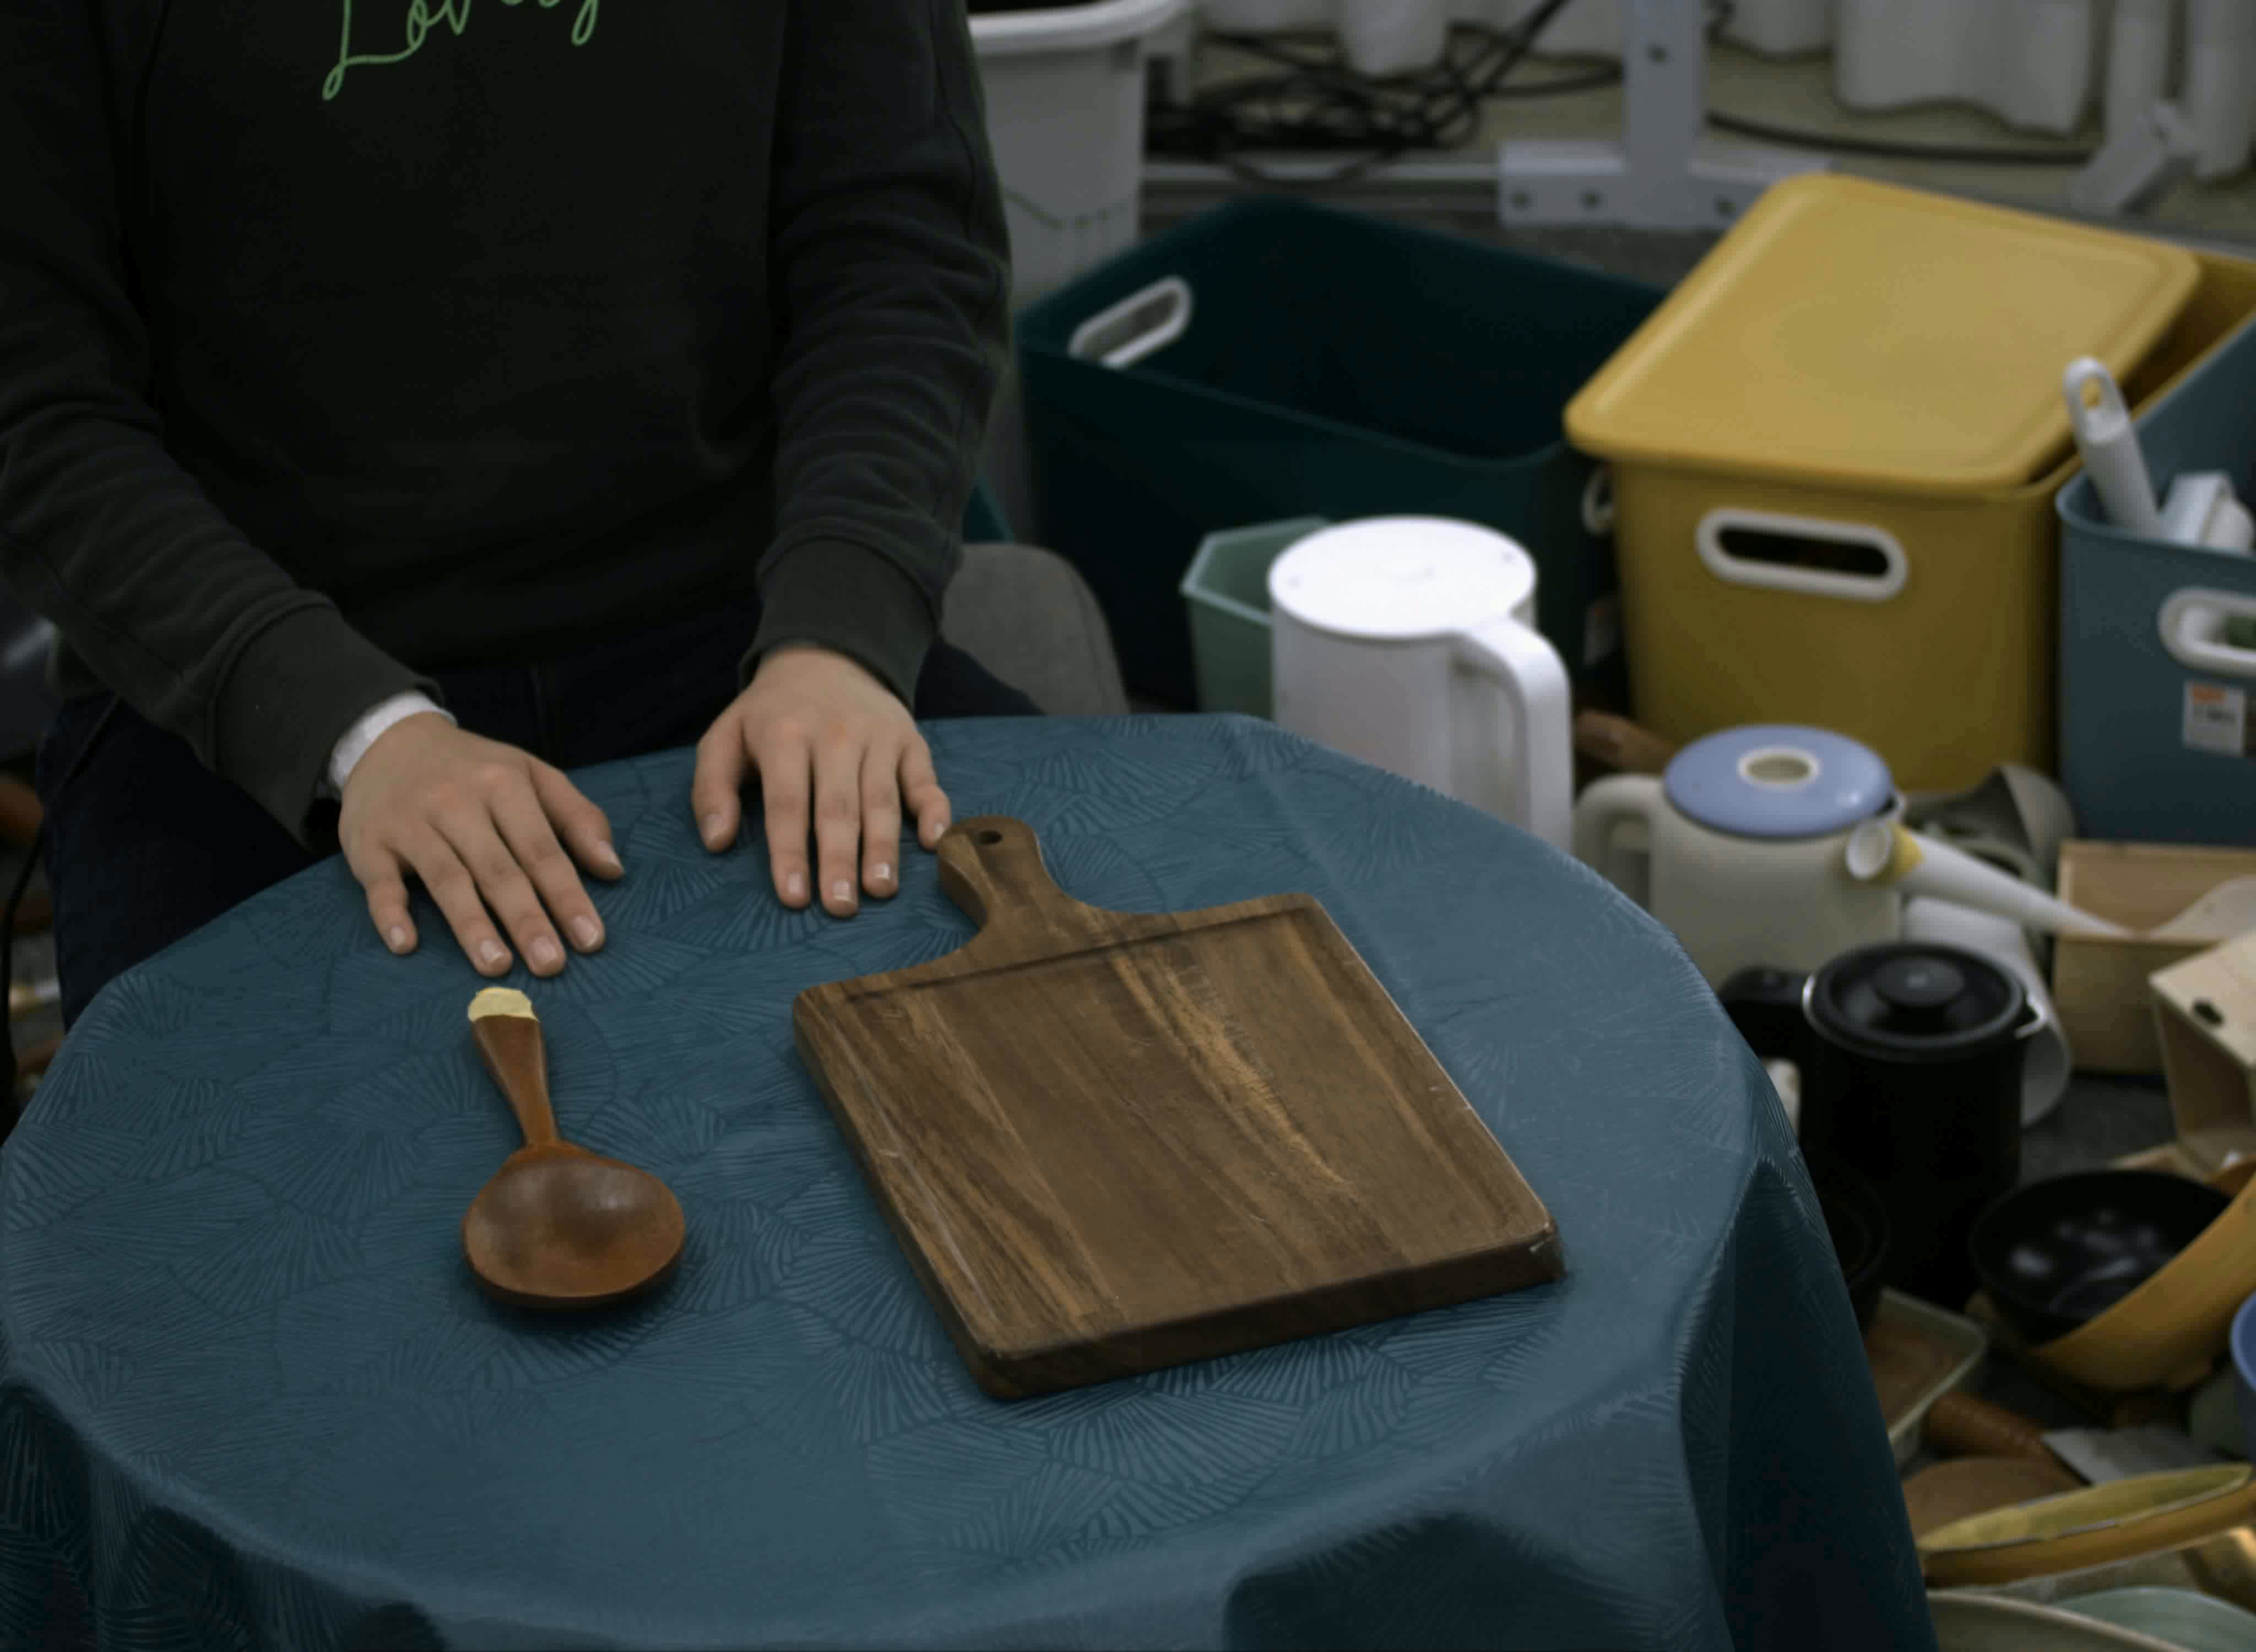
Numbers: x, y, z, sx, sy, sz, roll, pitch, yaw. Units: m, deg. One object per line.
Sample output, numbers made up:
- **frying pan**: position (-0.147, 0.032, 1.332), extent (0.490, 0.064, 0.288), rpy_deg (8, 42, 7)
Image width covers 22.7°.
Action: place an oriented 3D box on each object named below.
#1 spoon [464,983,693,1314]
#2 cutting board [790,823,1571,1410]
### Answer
- **spoon**: position (-0.195, 0.109, 1.886), extent (0.075, 0.017, 0.218), rpy_deg (-11, 29, -11)
- **cutting board**: position (-0.003, 0.082, 1.919), extent (0.201, 0.023, 0.355), rpy_deg (-11, 28, -14)
